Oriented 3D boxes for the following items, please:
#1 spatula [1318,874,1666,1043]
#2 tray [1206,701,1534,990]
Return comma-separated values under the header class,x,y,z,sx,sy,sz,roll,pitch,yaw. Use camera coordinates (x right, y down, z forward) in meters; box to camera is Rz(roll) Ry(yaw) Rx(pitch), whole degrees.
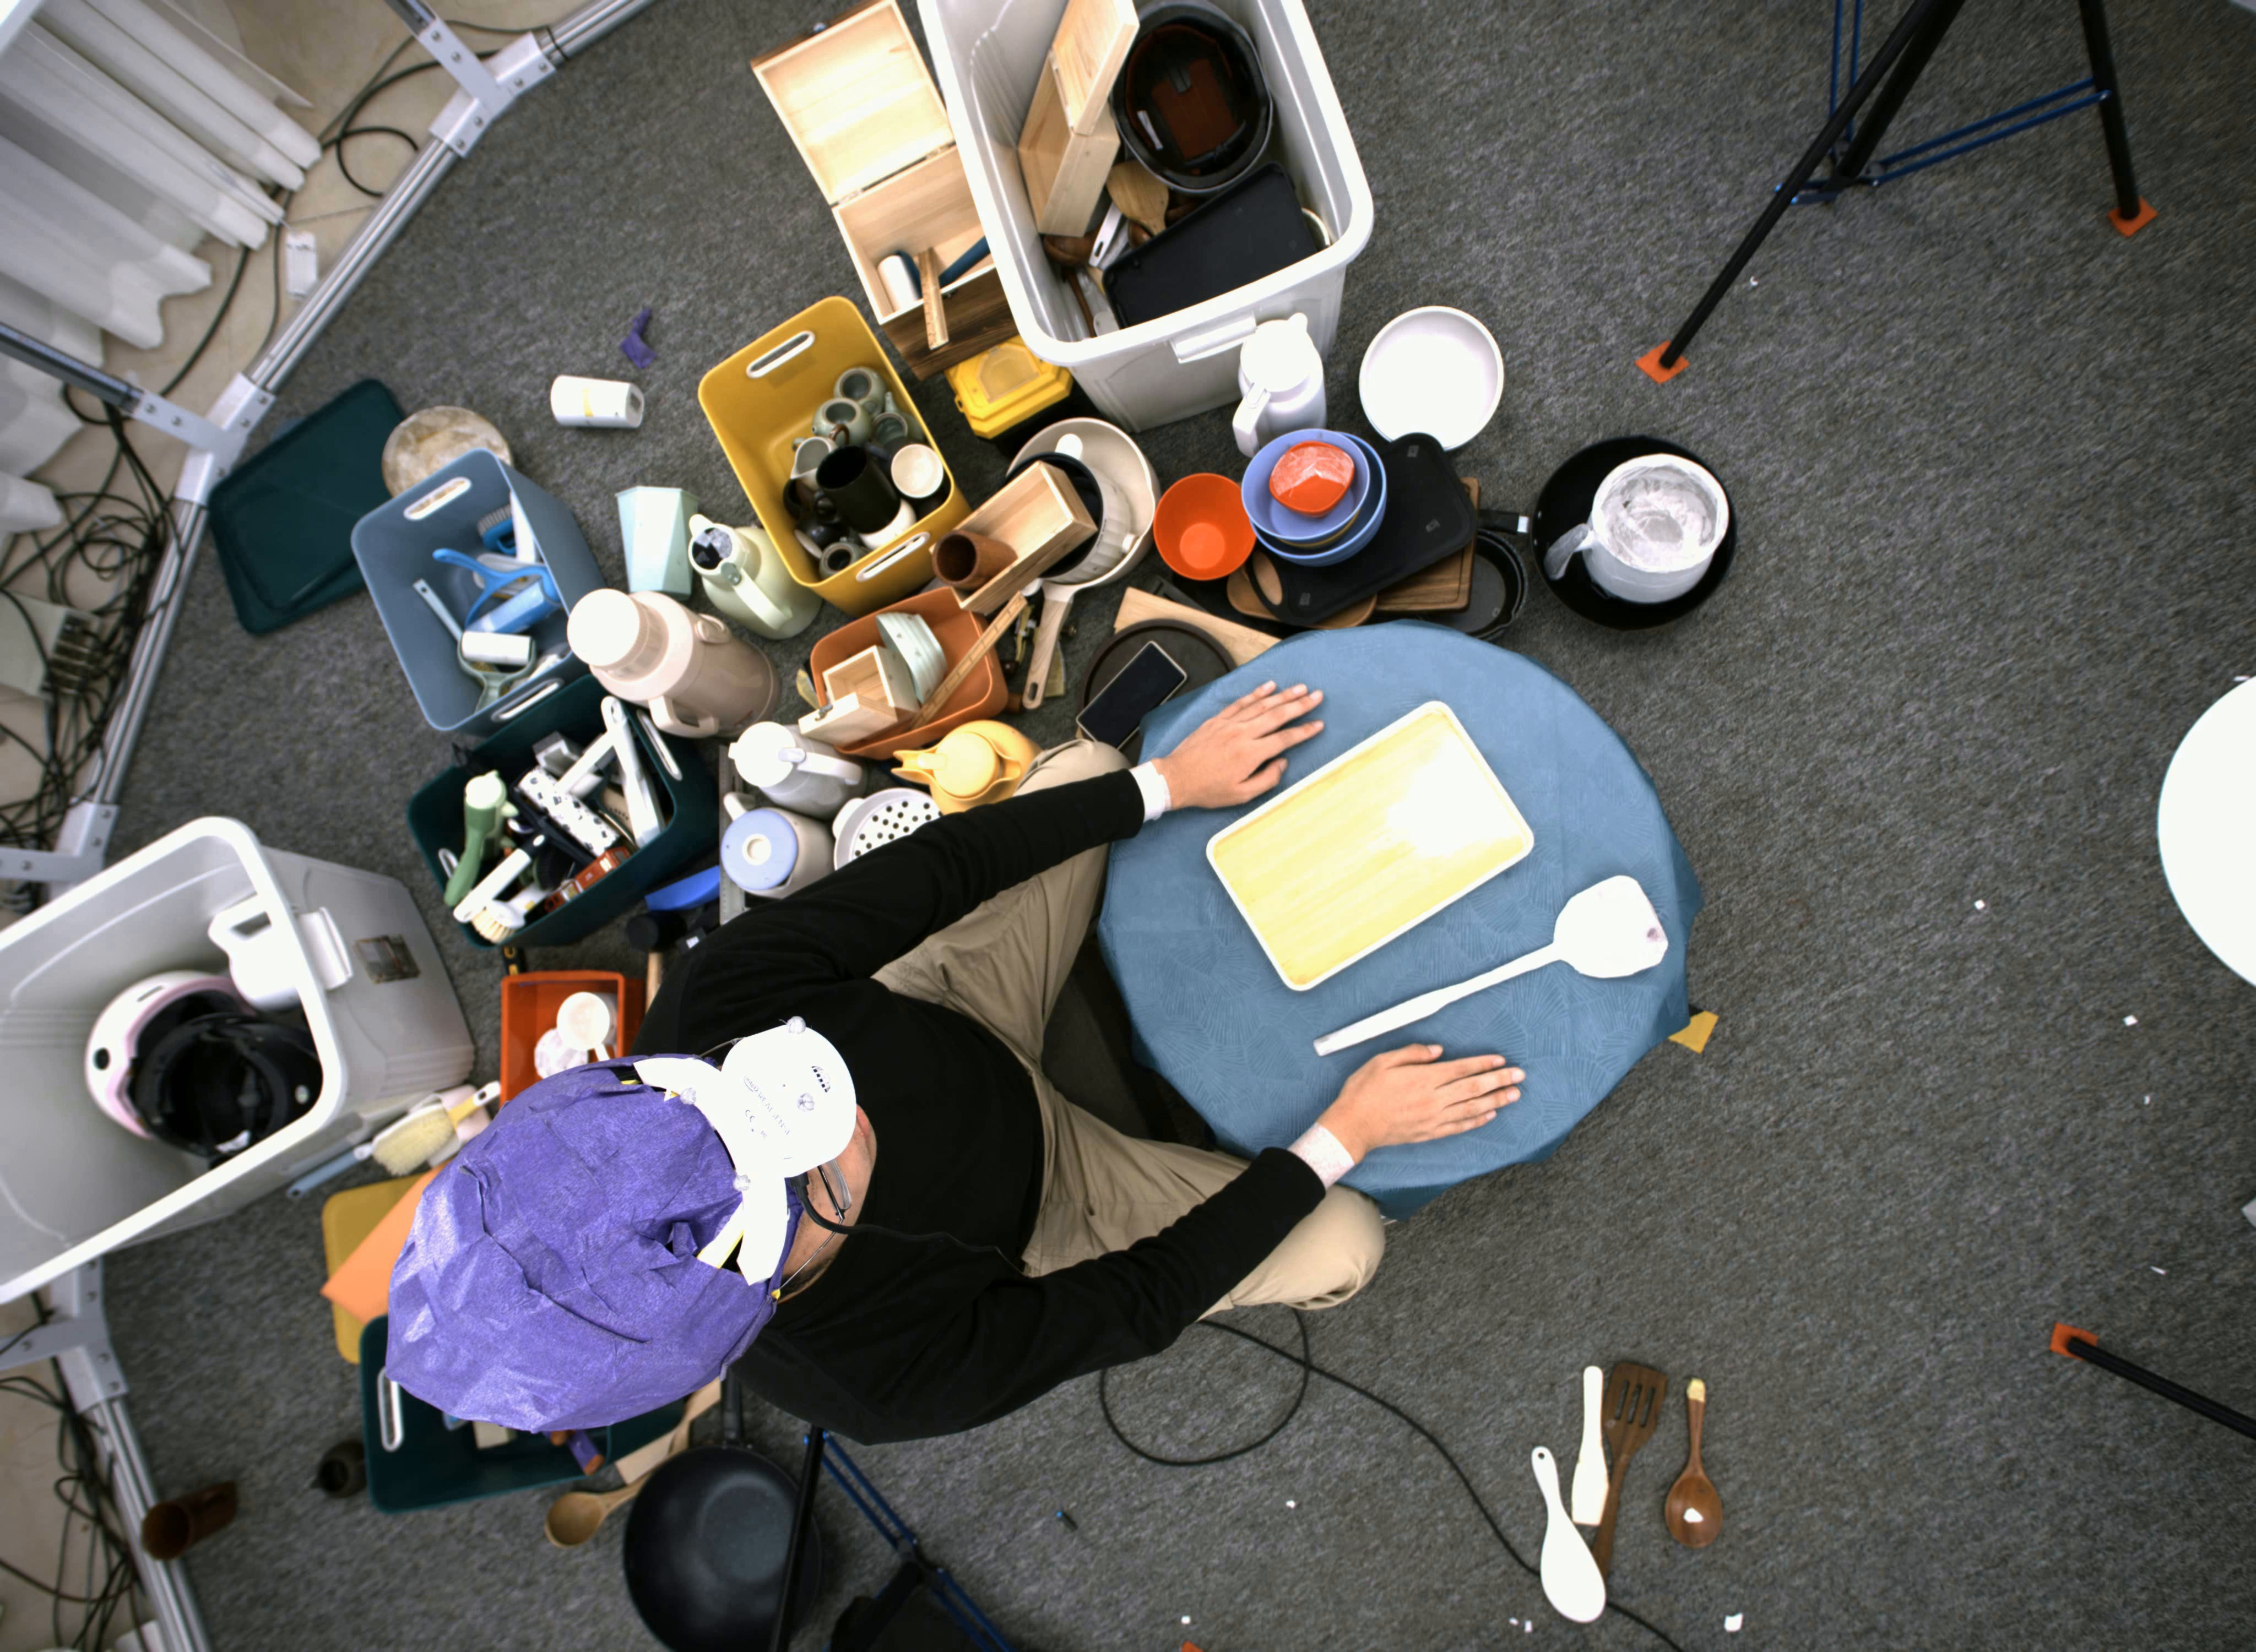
class,x,y,z,sx,sy,sz,roll,pitch,yaw
spatula,0.367,0.154,1.418,0.367,0.045,0.098,-23,83,8
tray,0.252,0.020,1.453,0.302,0.027,0.190,-32,82,7
